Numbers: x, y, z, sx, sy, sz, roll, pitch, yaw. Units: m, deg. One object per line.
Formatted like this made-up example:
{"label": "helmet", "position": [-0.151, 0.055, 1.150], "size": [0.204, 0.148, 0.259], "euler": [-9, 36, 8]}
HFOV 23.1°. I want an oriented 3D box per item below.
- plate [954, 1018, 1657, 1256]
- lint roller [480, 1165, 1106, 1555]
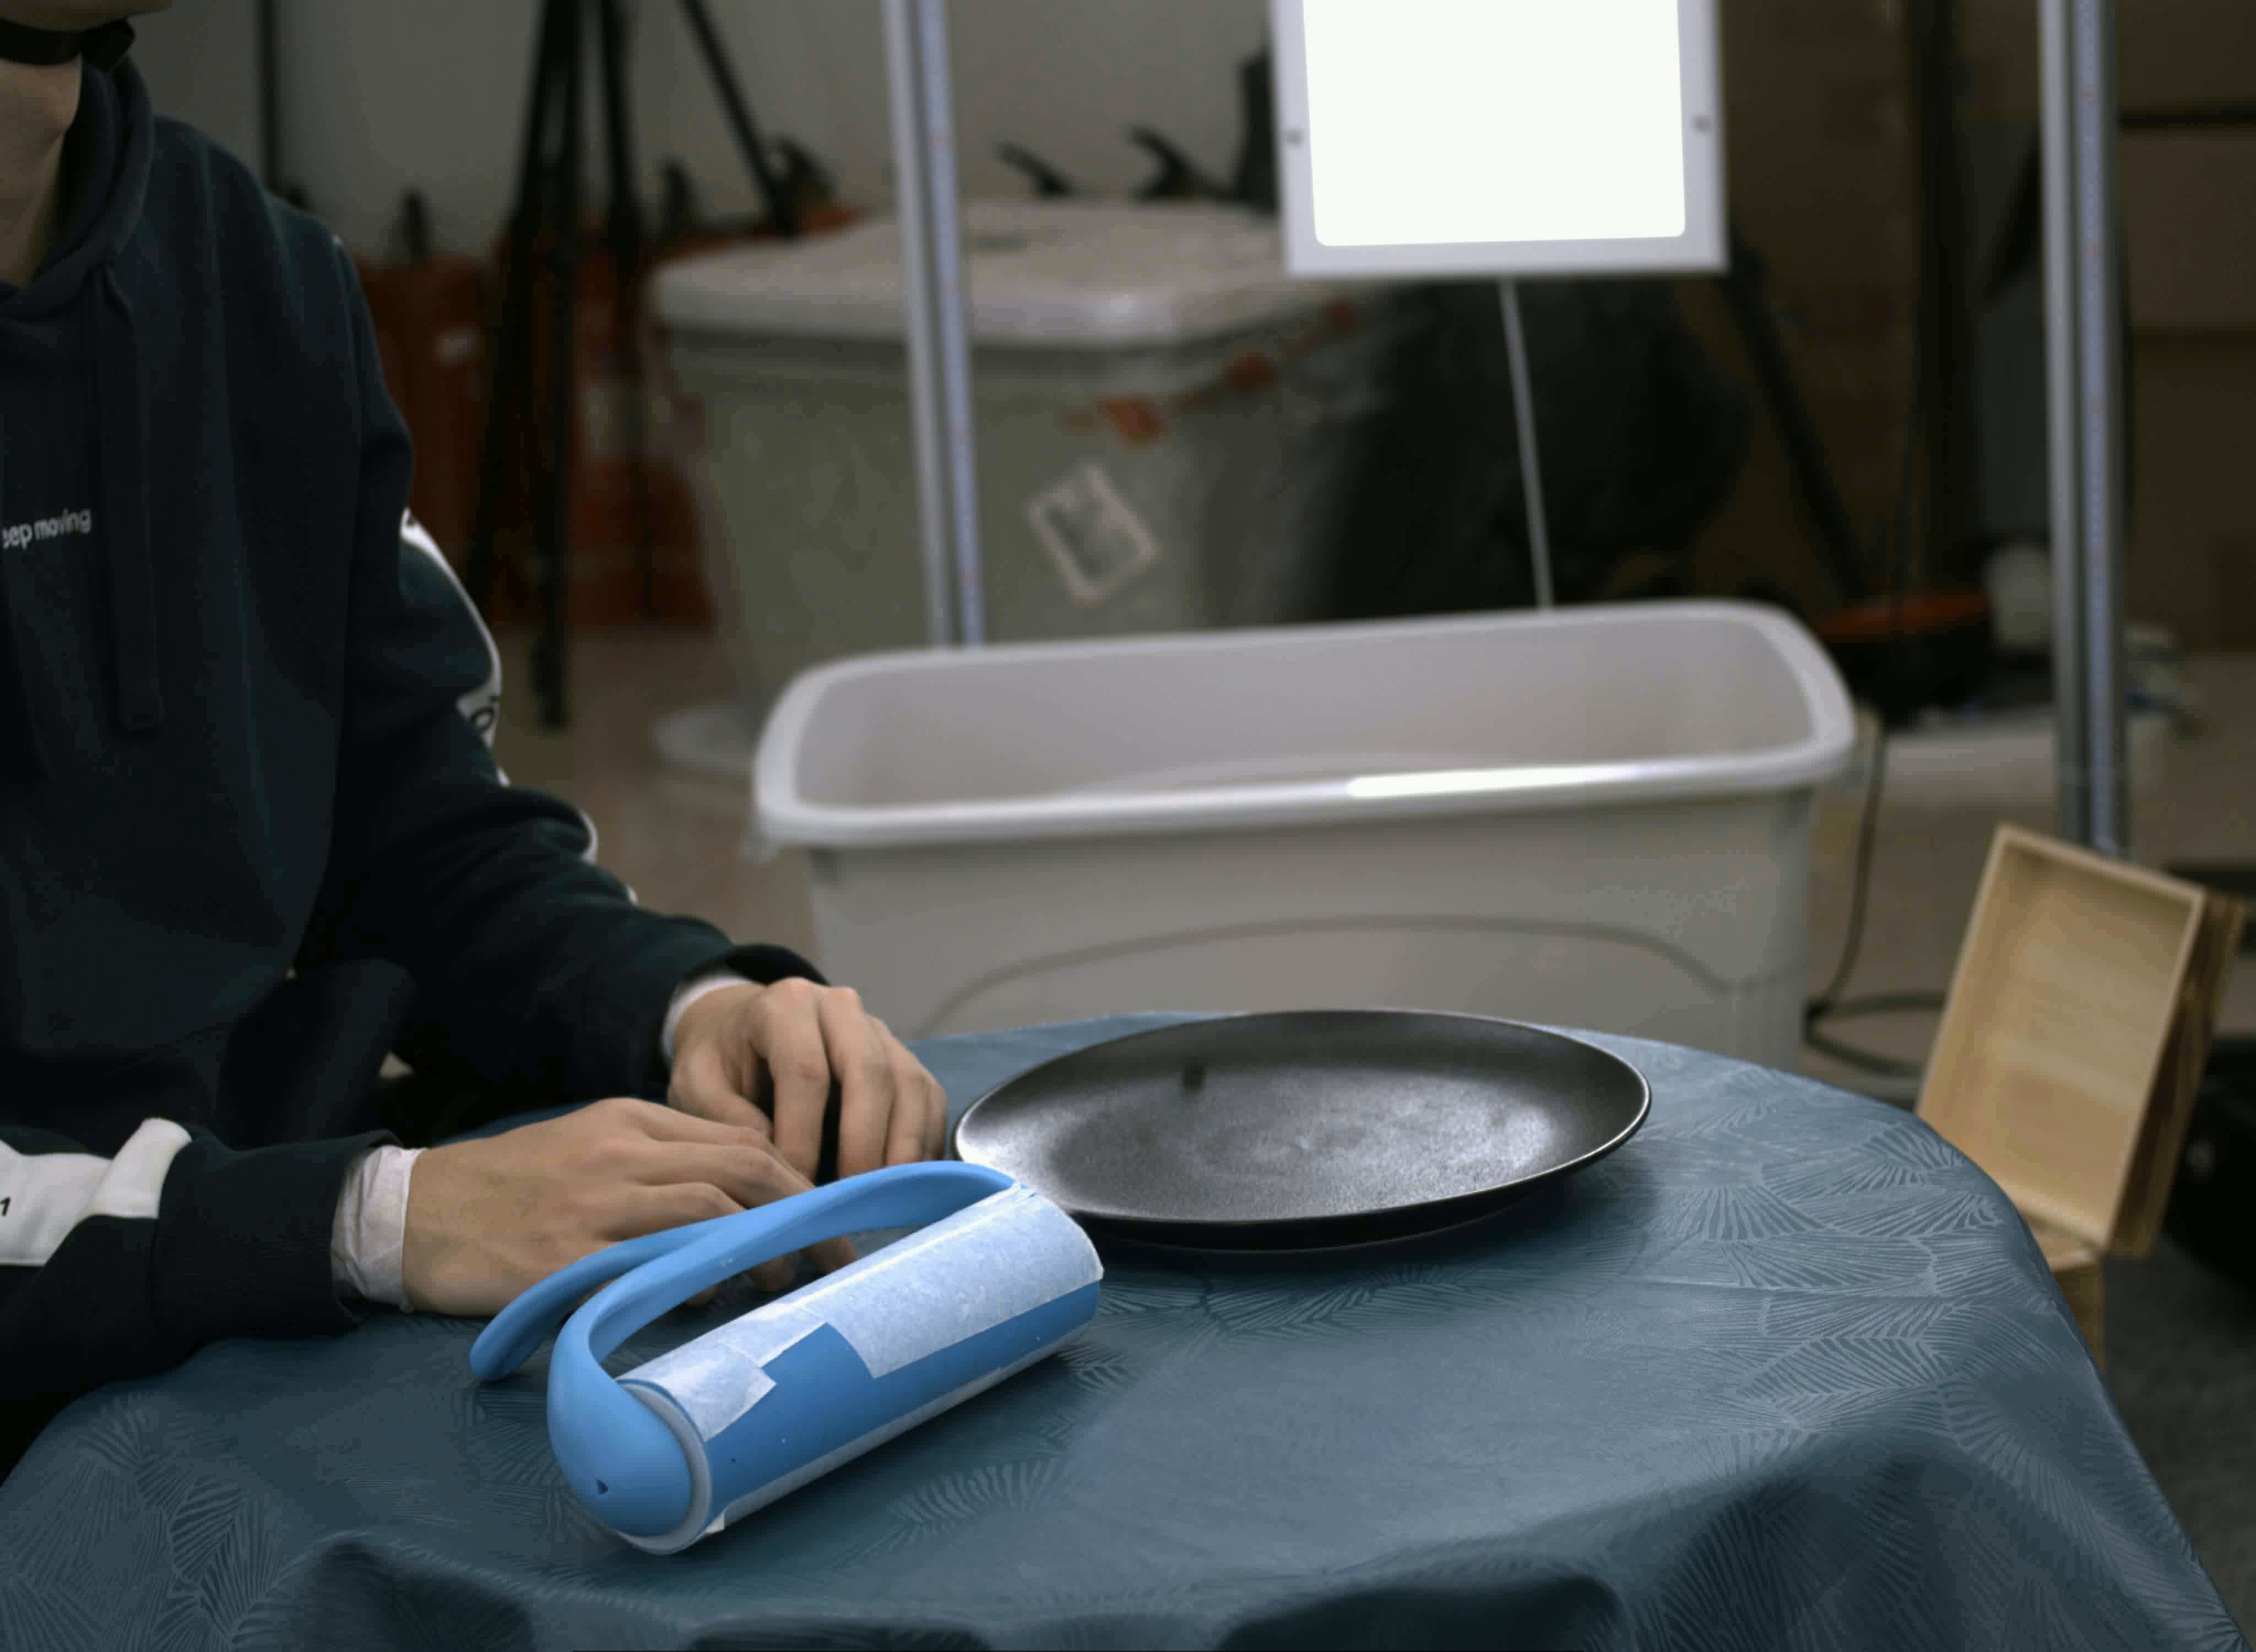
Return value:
{"label": "plate", "position": [0.062, 0.109, 1.898], "size": [0.244, 0.023, 0.244], "euler": [-5, 13, 0]}
{"label": "lint roller", "position": [-0.132, 0.157, 1.700], "size": [0.184, 0.068, 0.223], "euler": [5, 18, 34]}
